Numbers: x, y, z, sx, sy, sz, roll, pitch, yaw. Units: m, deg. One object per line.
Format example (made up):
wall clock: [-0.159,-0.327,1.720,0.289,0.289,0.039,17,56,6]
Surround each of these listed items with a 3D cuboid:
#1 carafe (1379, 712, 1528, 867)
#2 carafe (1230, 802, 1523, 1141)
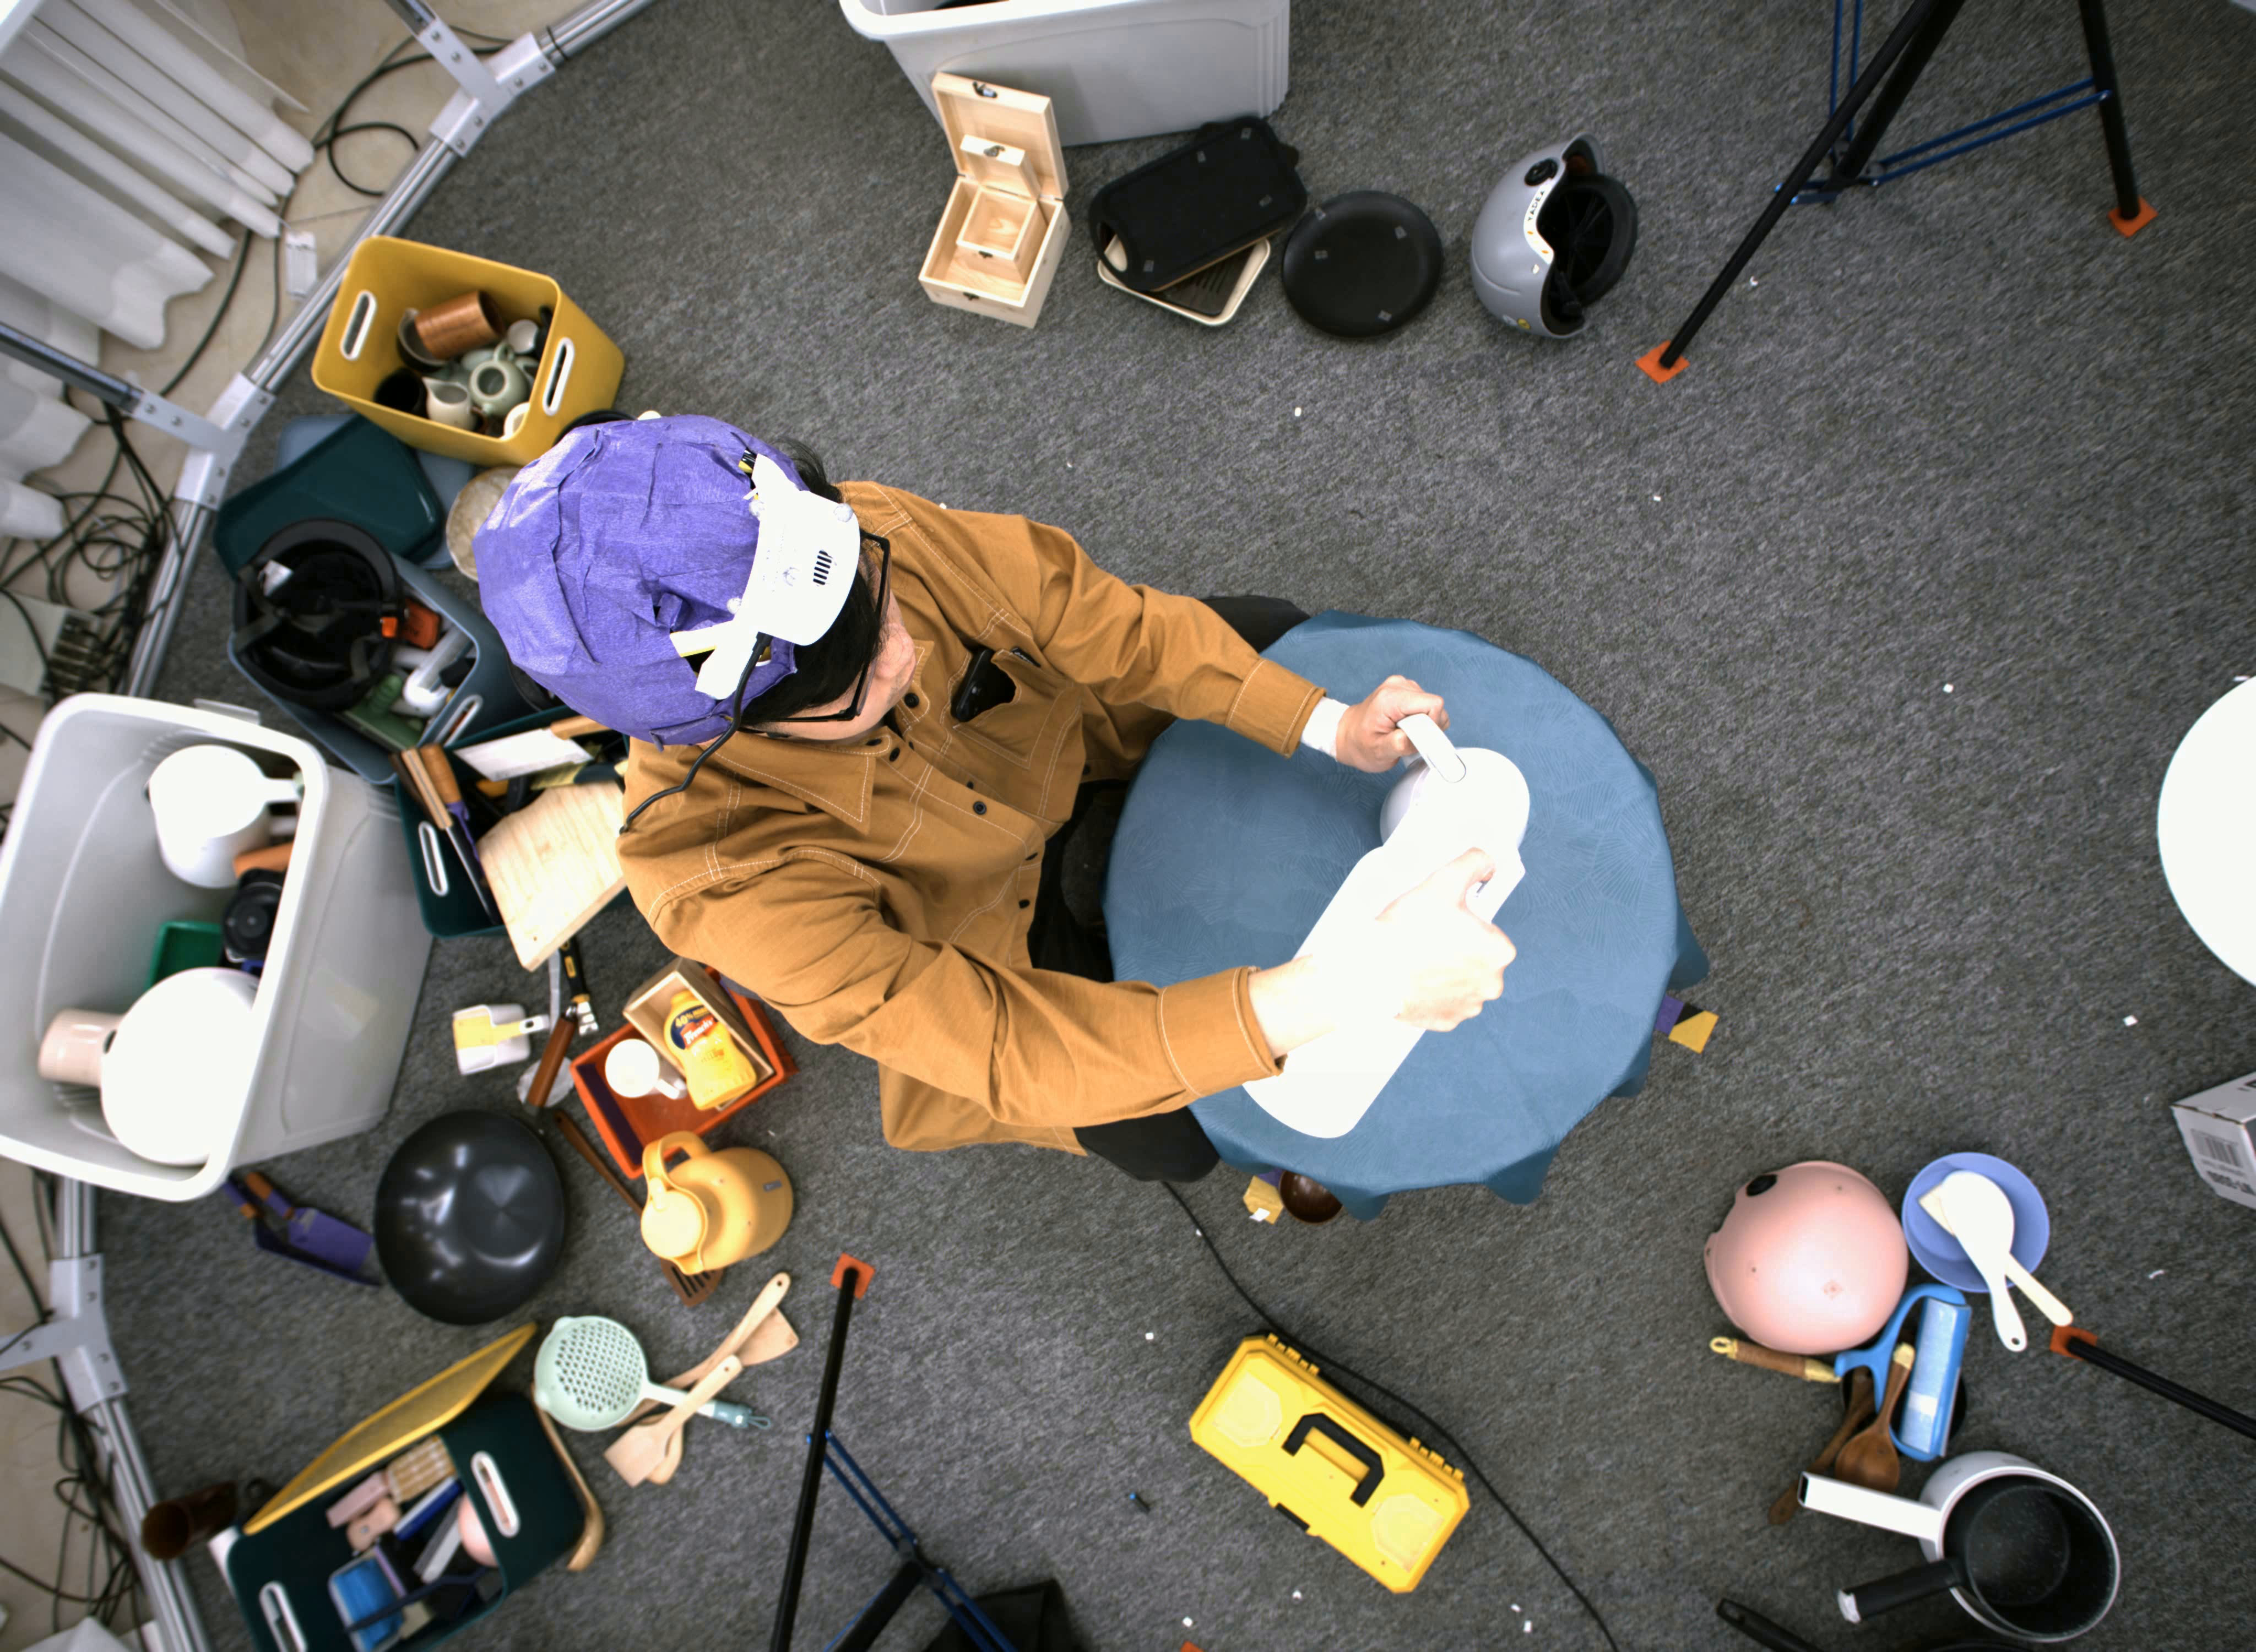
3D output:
carafe: [0.296,-0.027,1.280,0.133,0.249,0.167,-32,82,4]
carafe: [0.192,0.121,1.074,0.124,0.169,0.274,31,114,-5]
